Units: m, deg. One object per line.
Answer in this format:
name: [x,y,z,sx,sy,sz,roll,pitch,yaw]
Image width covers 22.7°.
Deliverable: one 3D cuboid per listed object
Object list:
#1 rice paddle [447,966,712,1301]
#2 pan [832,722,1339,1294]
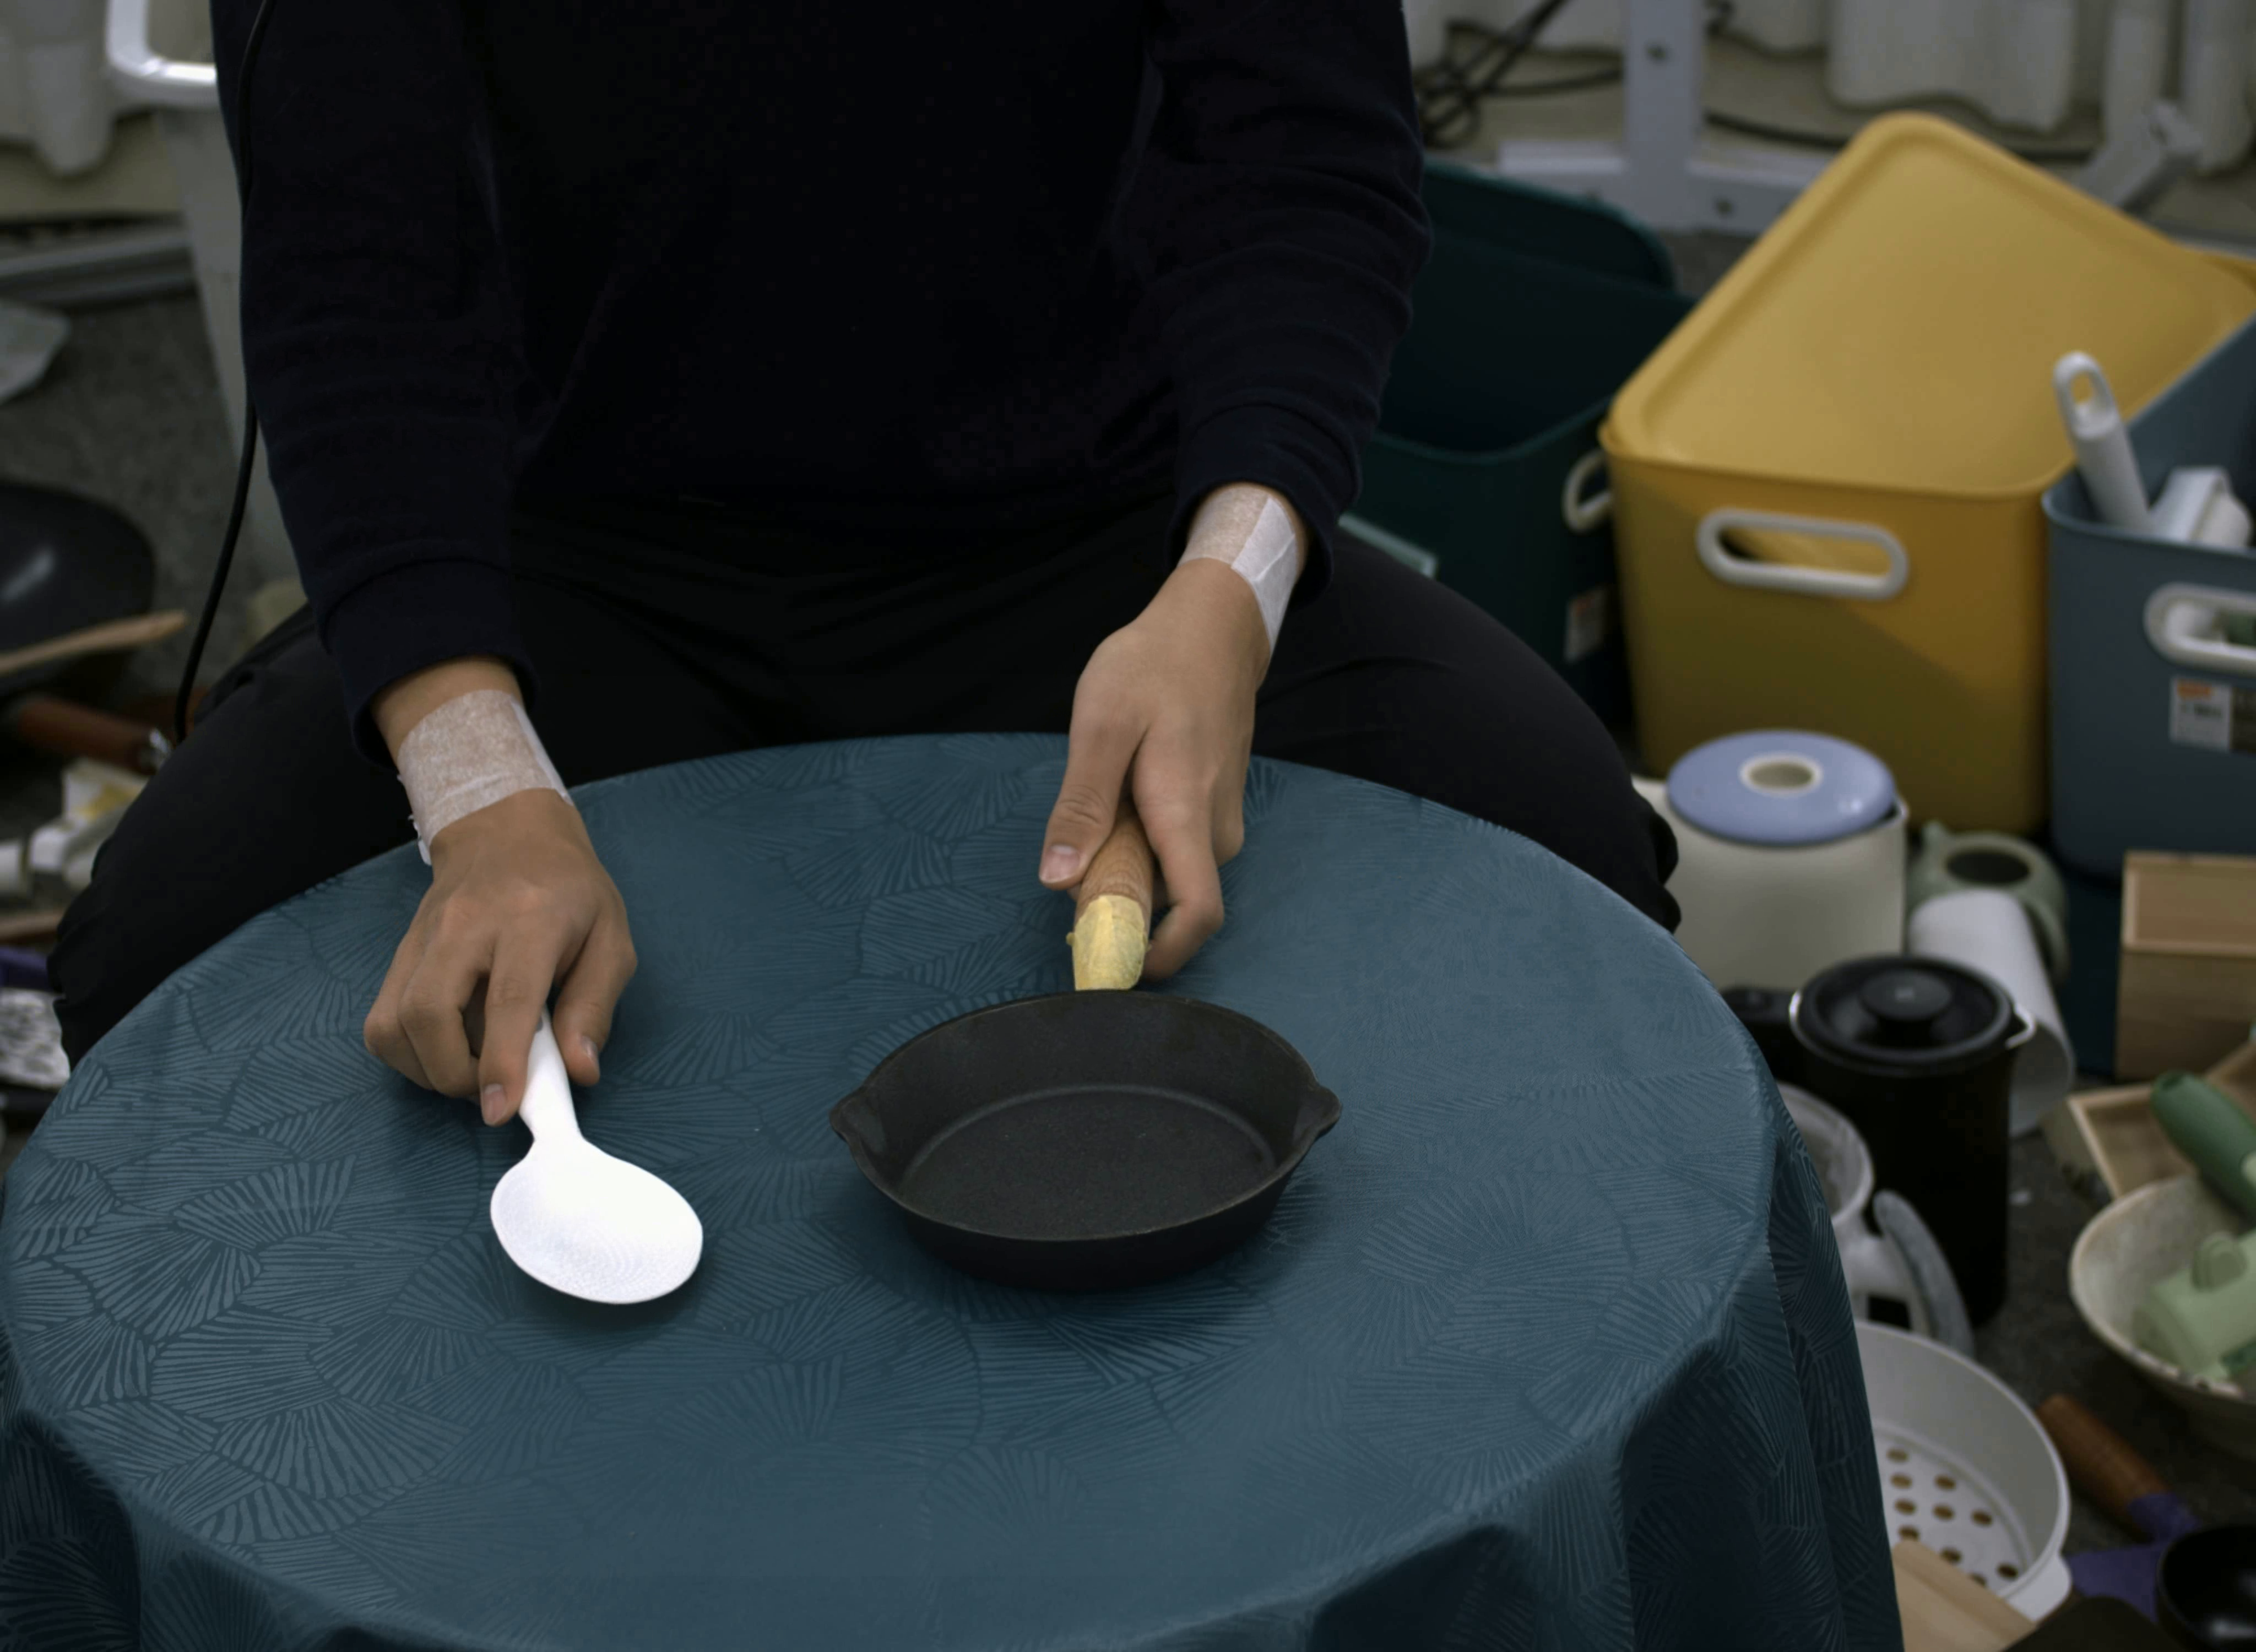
rice paddle: [-0.190,0.105,1.880,0.069,0.029,0.207,-4,26,-19]
pan: [-0.006,0.060,1.927,0.168,0.049,0.330,0,29,6]
